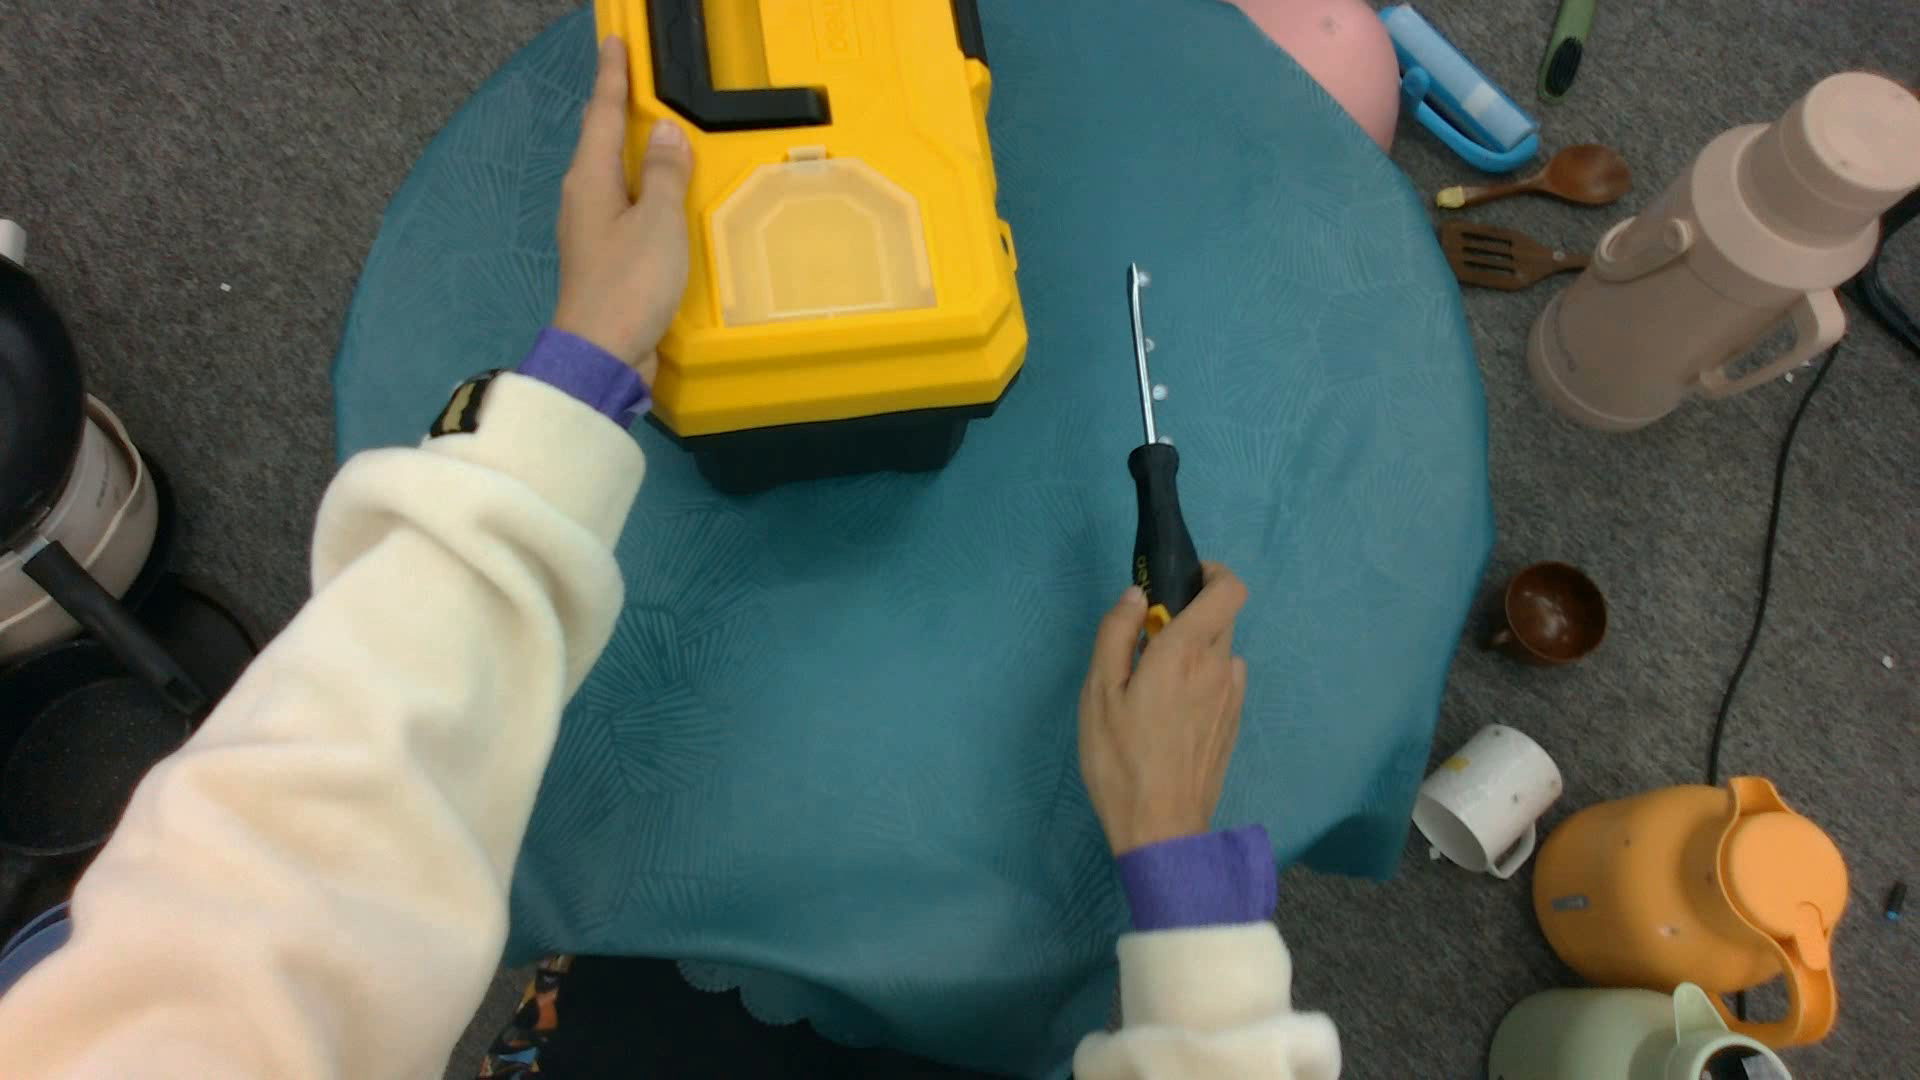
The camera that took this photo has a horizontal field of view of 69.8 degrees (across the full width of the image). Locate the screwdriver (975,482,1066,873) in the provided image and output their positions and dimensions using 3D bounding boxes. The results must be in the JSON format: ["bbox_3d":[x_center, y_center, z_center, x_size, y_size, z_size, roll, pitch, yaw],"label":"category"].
[{"bbox_3d":[0.033,0.060,0.657,0.031,0.031,0.198,15,61,-9],"label":"screwdriver"}]

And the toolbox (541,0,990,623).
[{"bbox_3d":[-0.089,-0.141,0.680,0.181,0.172,0.353,11,64,-12],"label":"toolbox"}]
